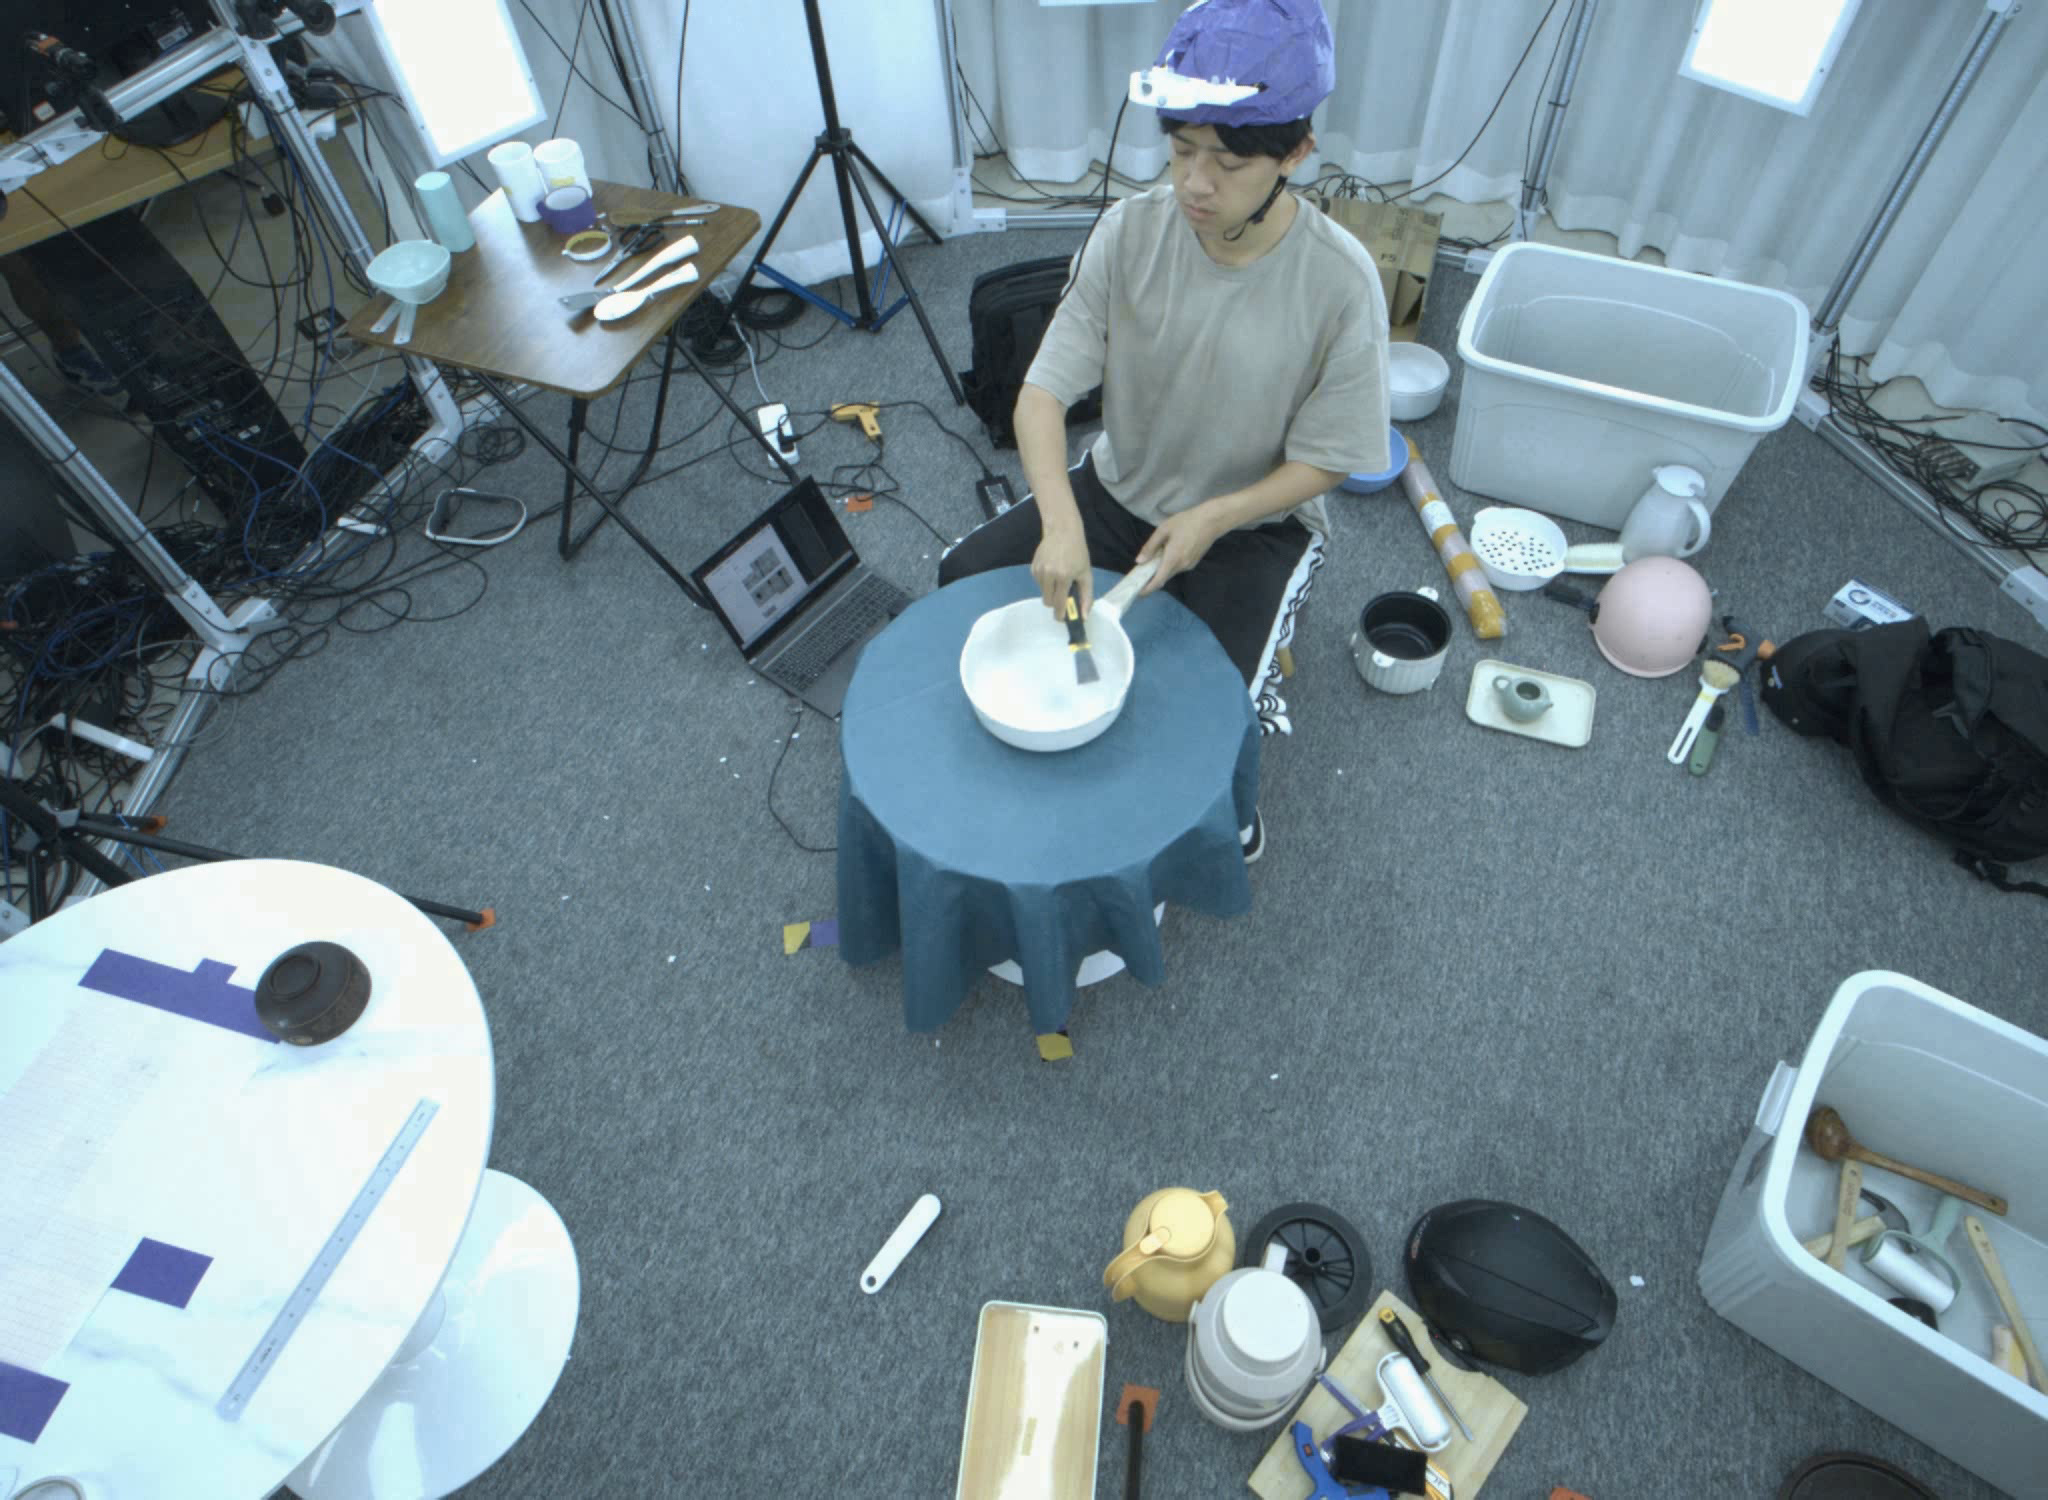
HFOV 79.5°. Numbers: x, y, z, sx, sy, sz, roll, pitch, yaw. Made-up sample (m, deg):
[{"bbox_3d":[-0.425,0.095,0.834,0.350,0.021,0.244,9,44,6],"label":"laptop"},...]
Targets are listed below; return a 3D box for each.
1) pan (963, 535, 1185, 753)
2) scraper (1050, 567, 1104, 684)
[{"bbox_3d":[0.101,-0.162,1.838,0.258,0.103,0.437,34,63,27],"label":"pan"},{"bbox_3d":[0.073,-0.179,1.762,0.039,0.015,0.171,-16,97,5],"label":"scraper"}]
